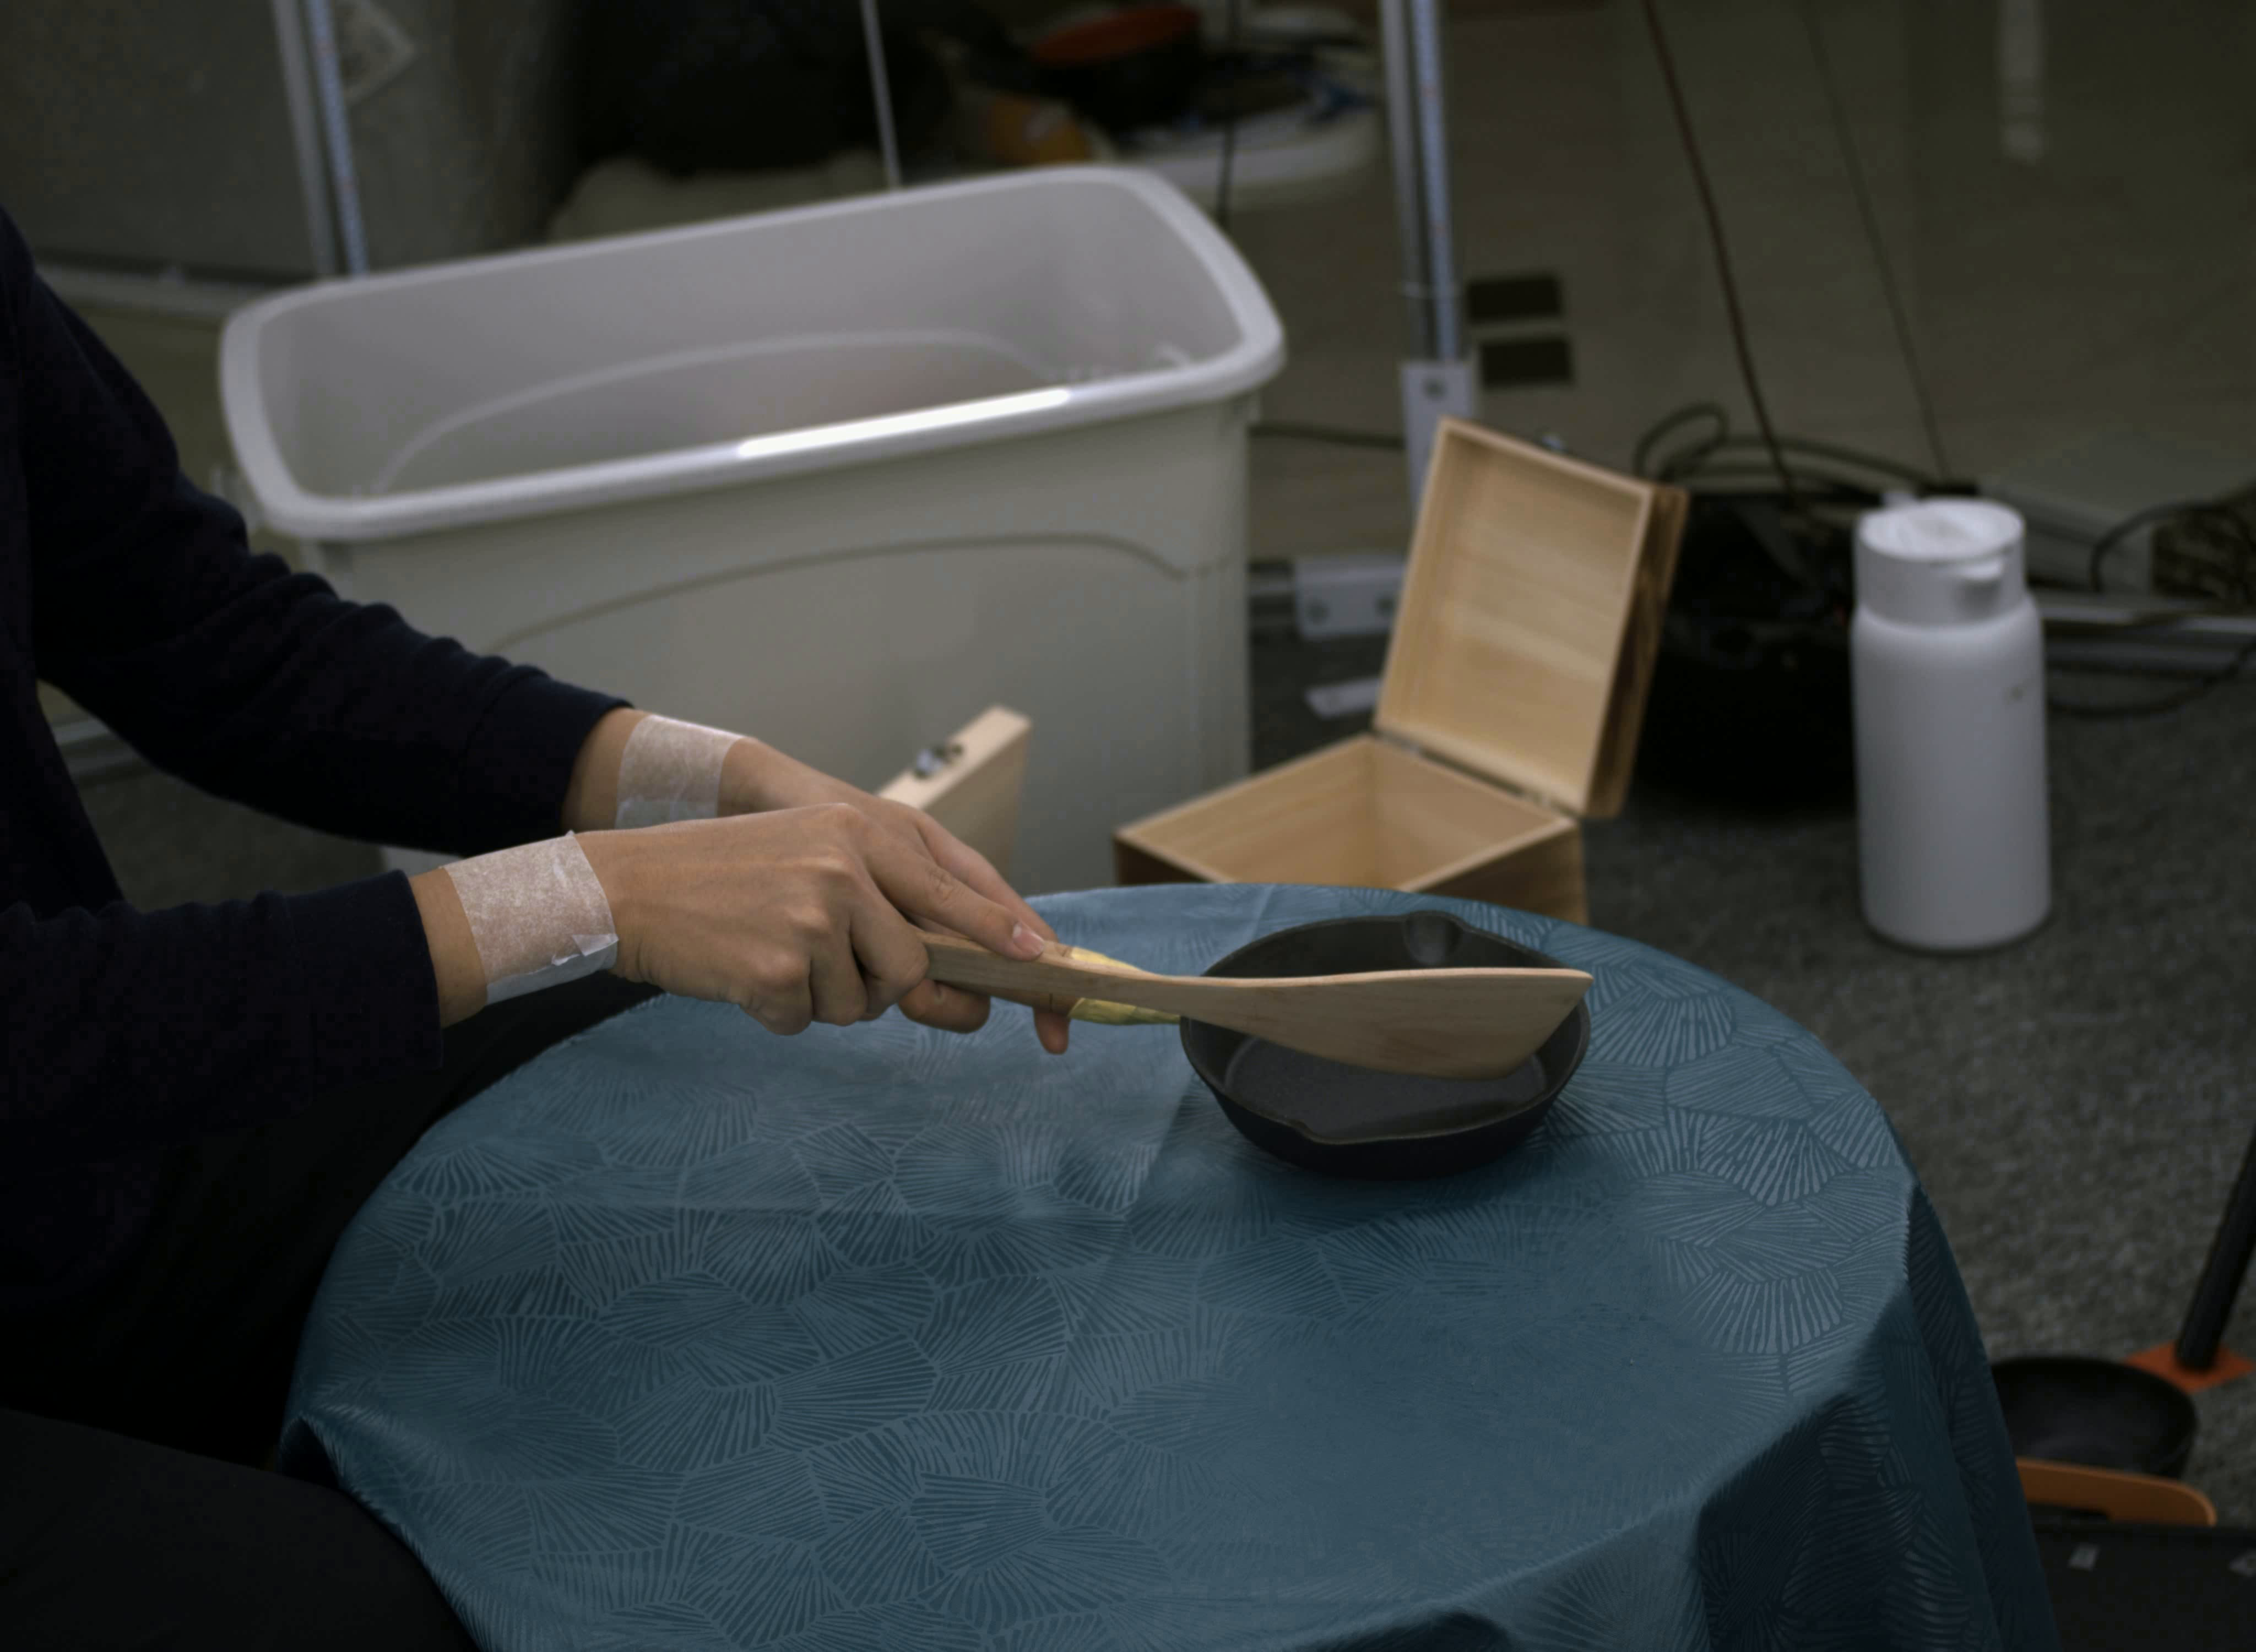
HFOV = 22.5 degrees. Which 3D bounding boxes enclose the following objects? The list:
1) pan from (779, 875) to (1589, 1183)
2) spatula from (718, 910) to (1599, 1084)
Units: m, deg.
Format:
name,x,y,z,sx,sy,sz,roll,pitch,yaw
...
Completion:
name,x,y,z,sx,sy,sz,roll,pitch,yaw
pan,0.018,0.068,2.193,0.323,0.050,0.166,10,33,16
spatula,0.009,0.058,2.112,0.327,0.081,0.016,8,55,-9
